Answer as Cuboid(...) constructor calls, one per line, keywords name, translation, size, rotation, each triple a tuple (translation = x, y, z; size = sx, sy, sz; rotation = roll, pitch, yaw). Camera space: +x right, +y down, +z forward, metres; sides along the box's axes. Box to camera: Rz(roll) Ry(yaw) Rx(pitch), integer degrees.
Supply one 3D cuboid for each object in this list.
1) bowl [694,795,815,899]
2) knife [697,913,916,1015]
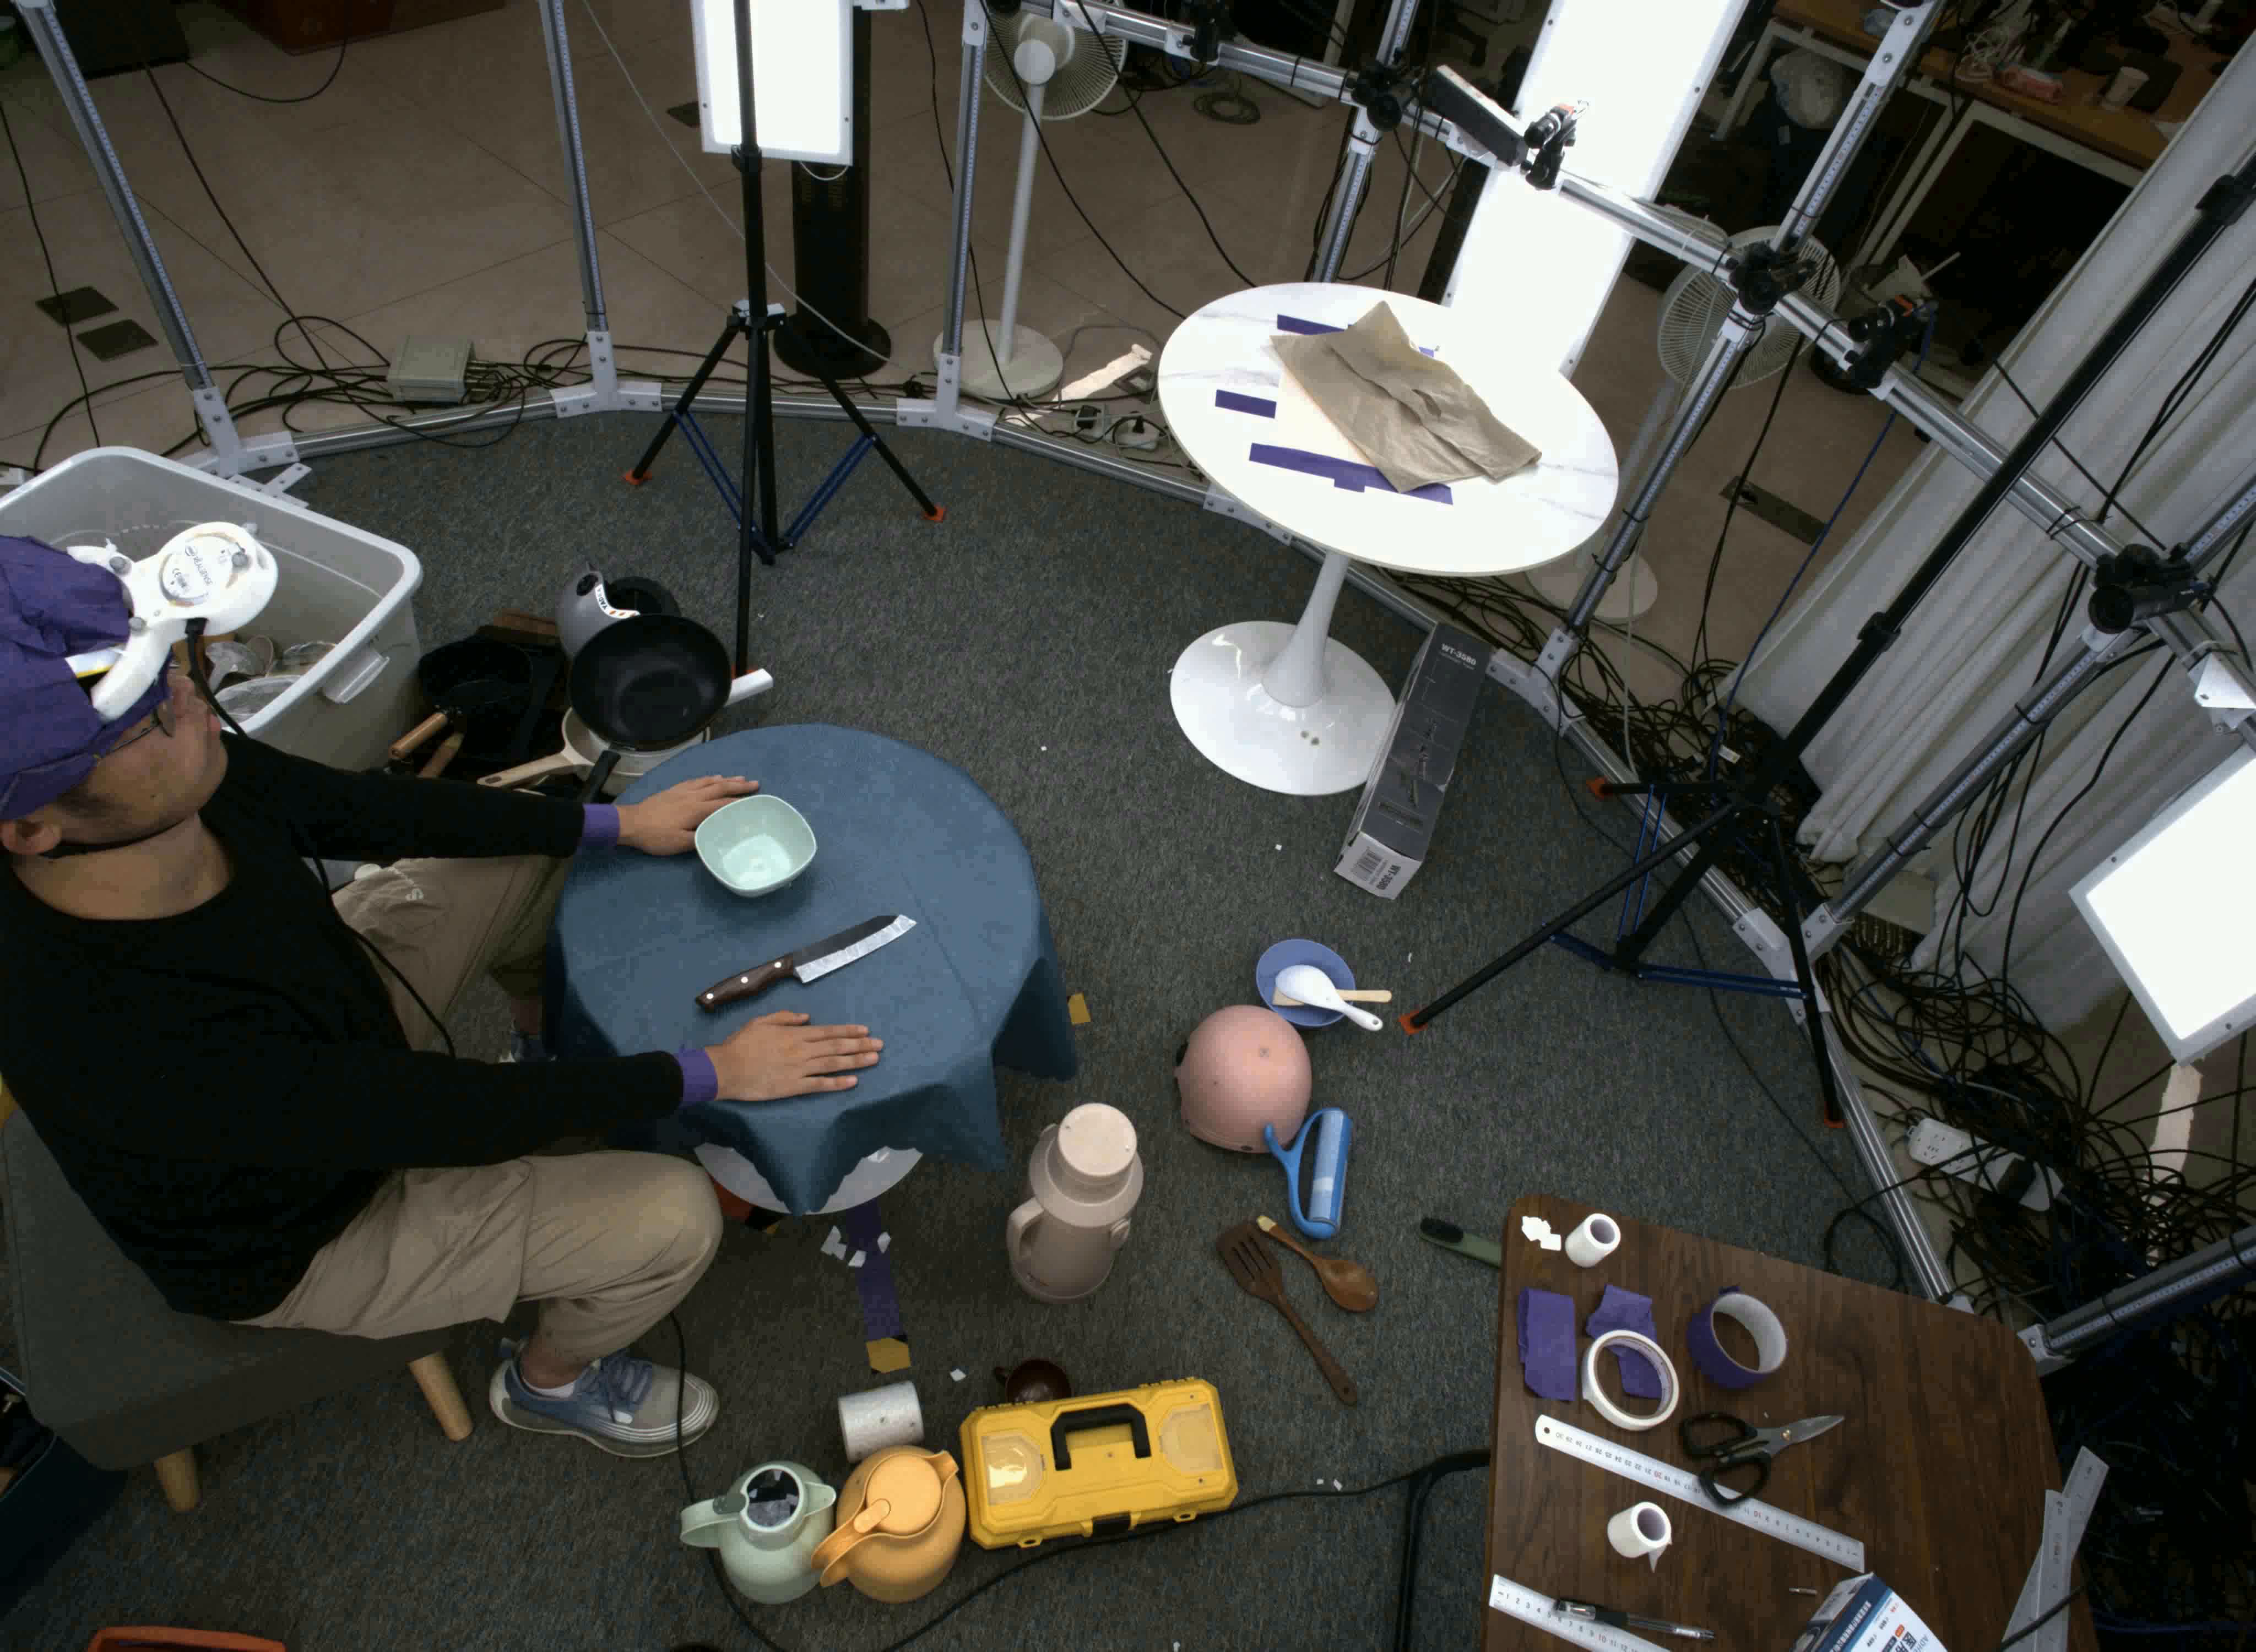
Cuboid(name="bowl", translation=(-0.474, 0.035, 1.645), size=(0.151, 0.060, 0.148), rotation=(9, 51, -10))
Cuboid(name="knife", translation=(-0.390, 0.165, 1.598), size=(0.291, 0.020, 0.049), rotation=(-22, 66, -30))
